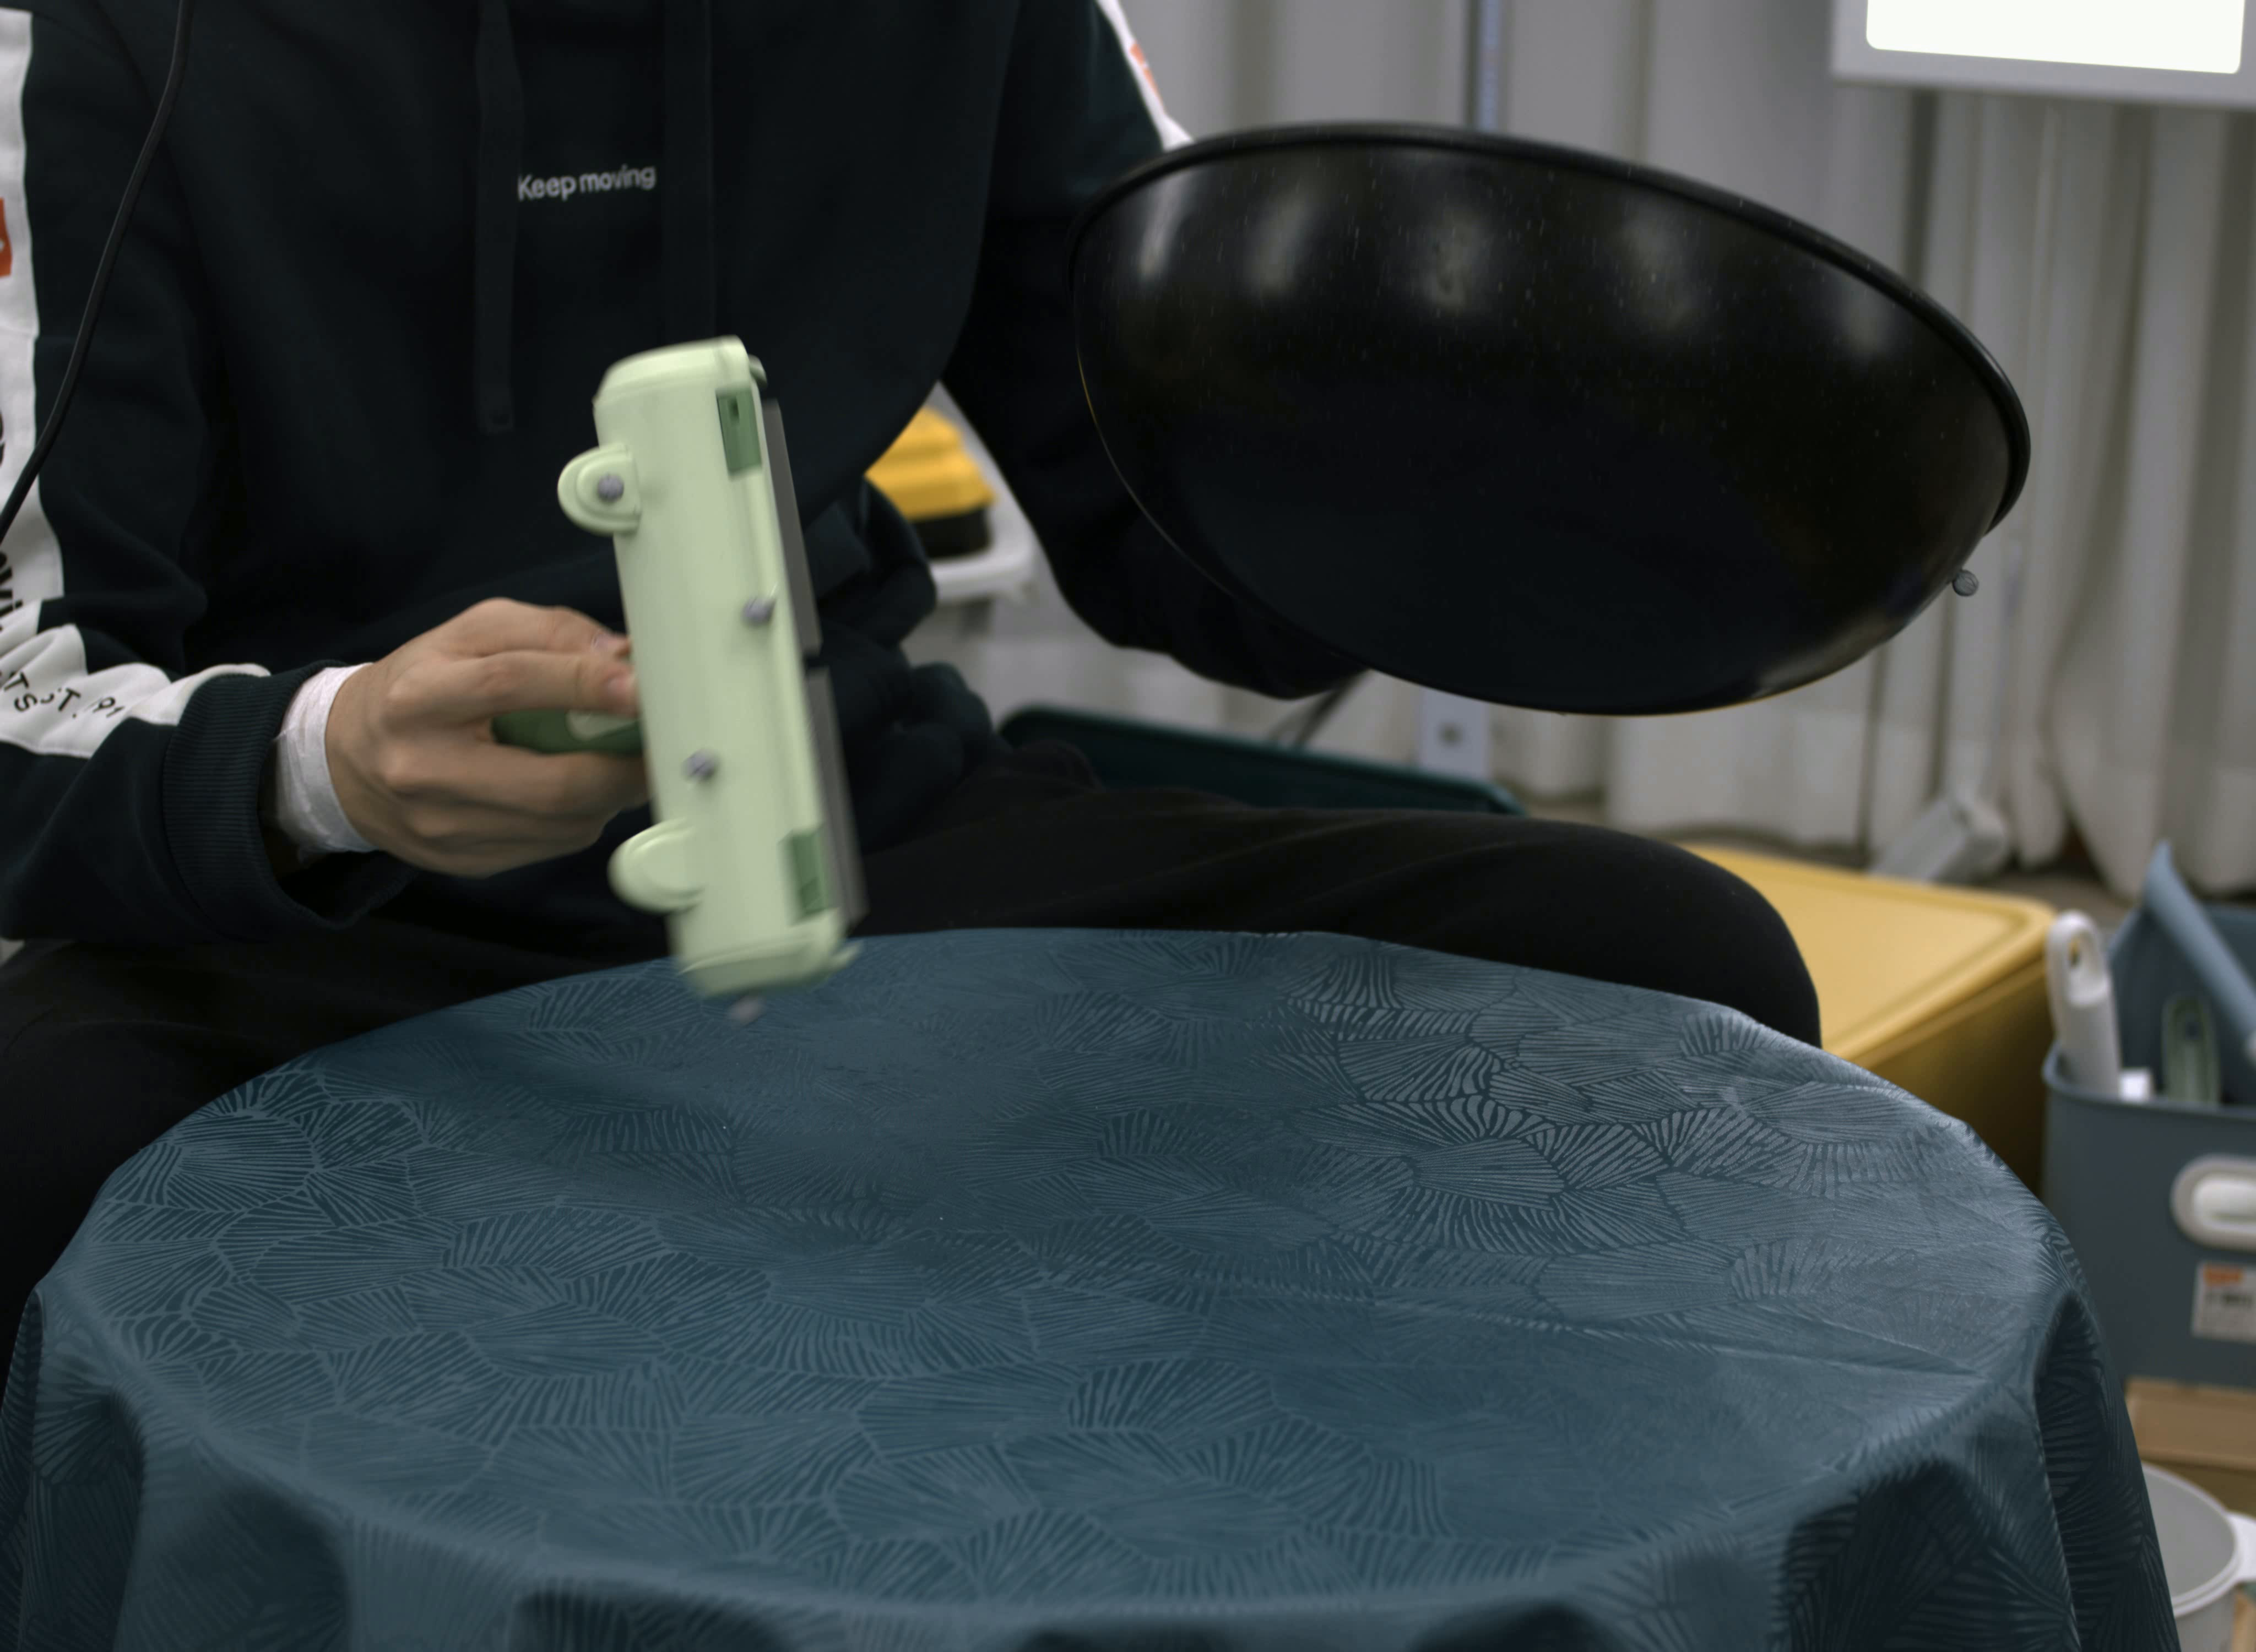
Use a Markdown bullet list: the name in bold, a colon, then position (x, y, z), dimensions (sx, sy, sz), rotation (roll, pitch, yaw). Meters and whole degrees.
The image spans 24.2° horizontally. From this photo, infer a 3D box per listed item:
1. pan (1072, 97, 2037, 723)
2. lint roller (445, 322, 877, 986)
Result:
- **pan**: position (0.108, -0.094, 1.711), dimensions (0.310, 0.111, 0.477), rotation (18, -19, -6)
- **lint roller**: position (-0.166, -0.039, 1.624), dimensions (0.182, 0.199, 0.083), rotation (-15, -5, 37)
